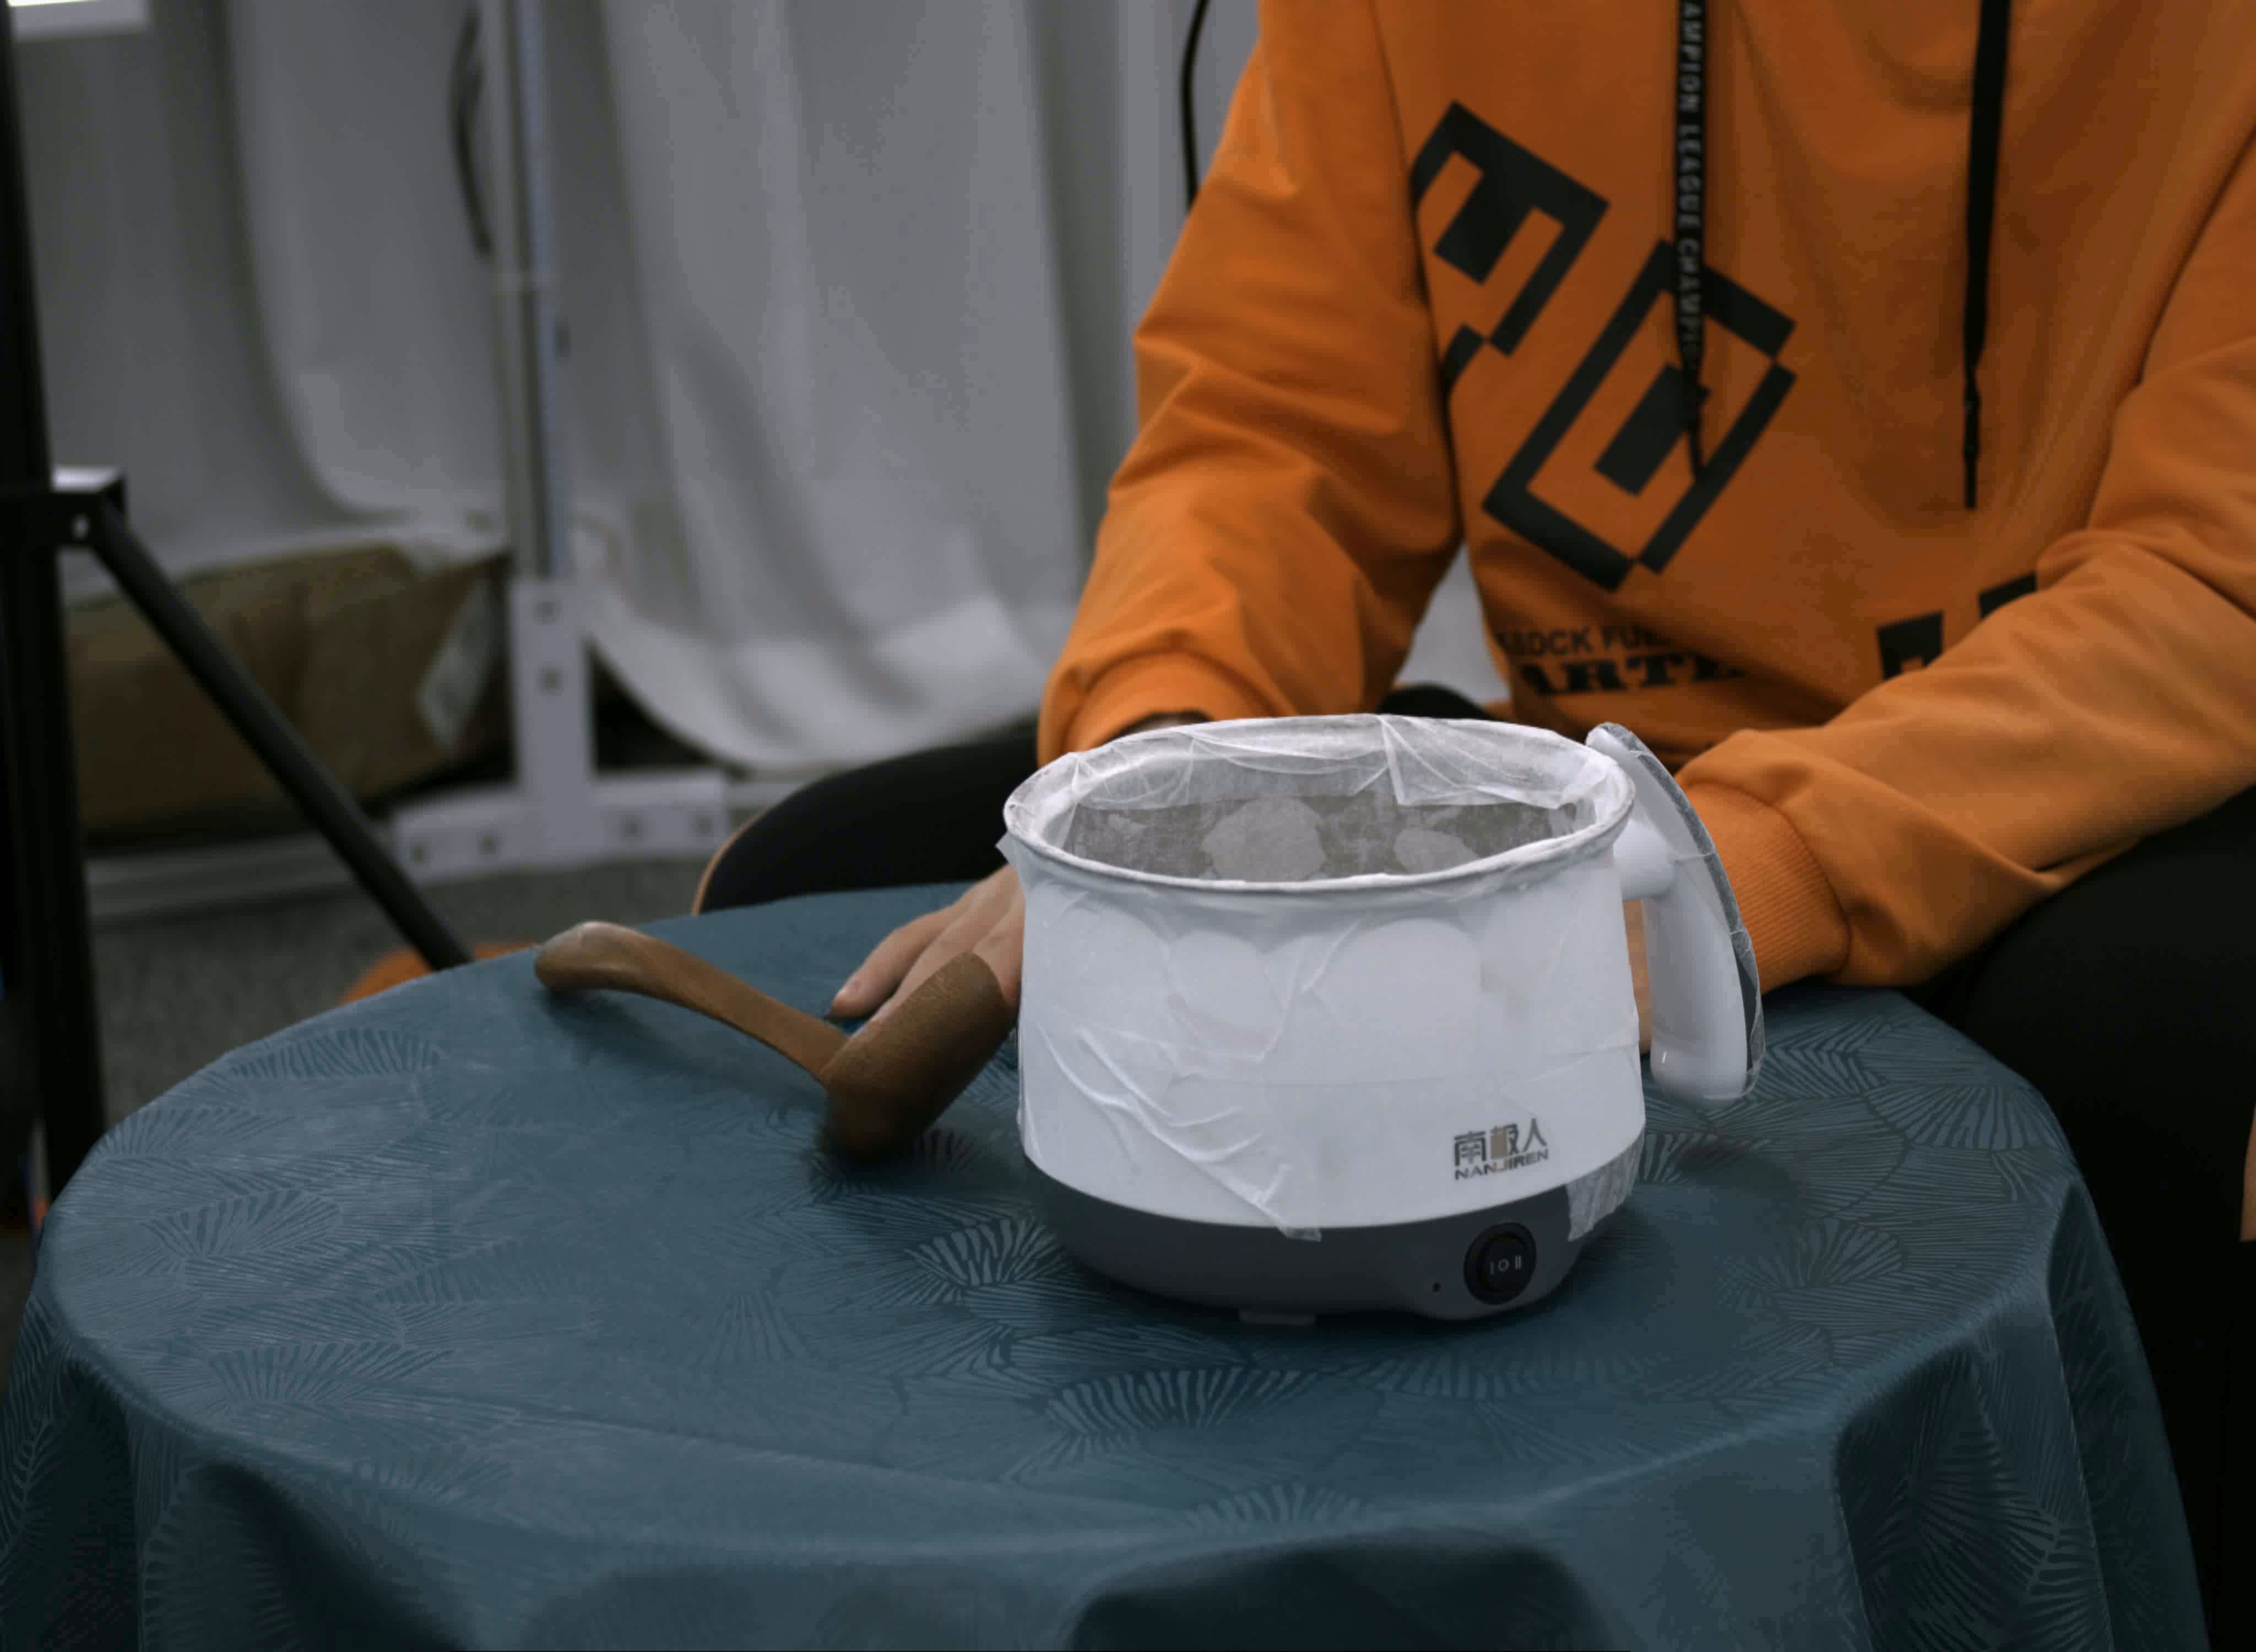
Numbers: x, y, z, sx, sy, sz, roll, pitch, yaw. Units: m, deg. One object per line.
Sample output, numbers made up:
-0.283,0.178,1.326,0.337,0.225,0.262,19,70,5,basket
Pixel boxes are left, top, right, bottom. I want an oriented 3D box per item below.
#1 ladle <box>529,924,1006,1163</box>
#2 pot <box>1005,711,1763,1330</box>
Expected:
-0.125,0.051,1.671,0.076,0.064,0.266,-39,32,-22,ladle
0.079,0.048,1.506,0.228,0.136,0.182,-11,18,-29,pot
